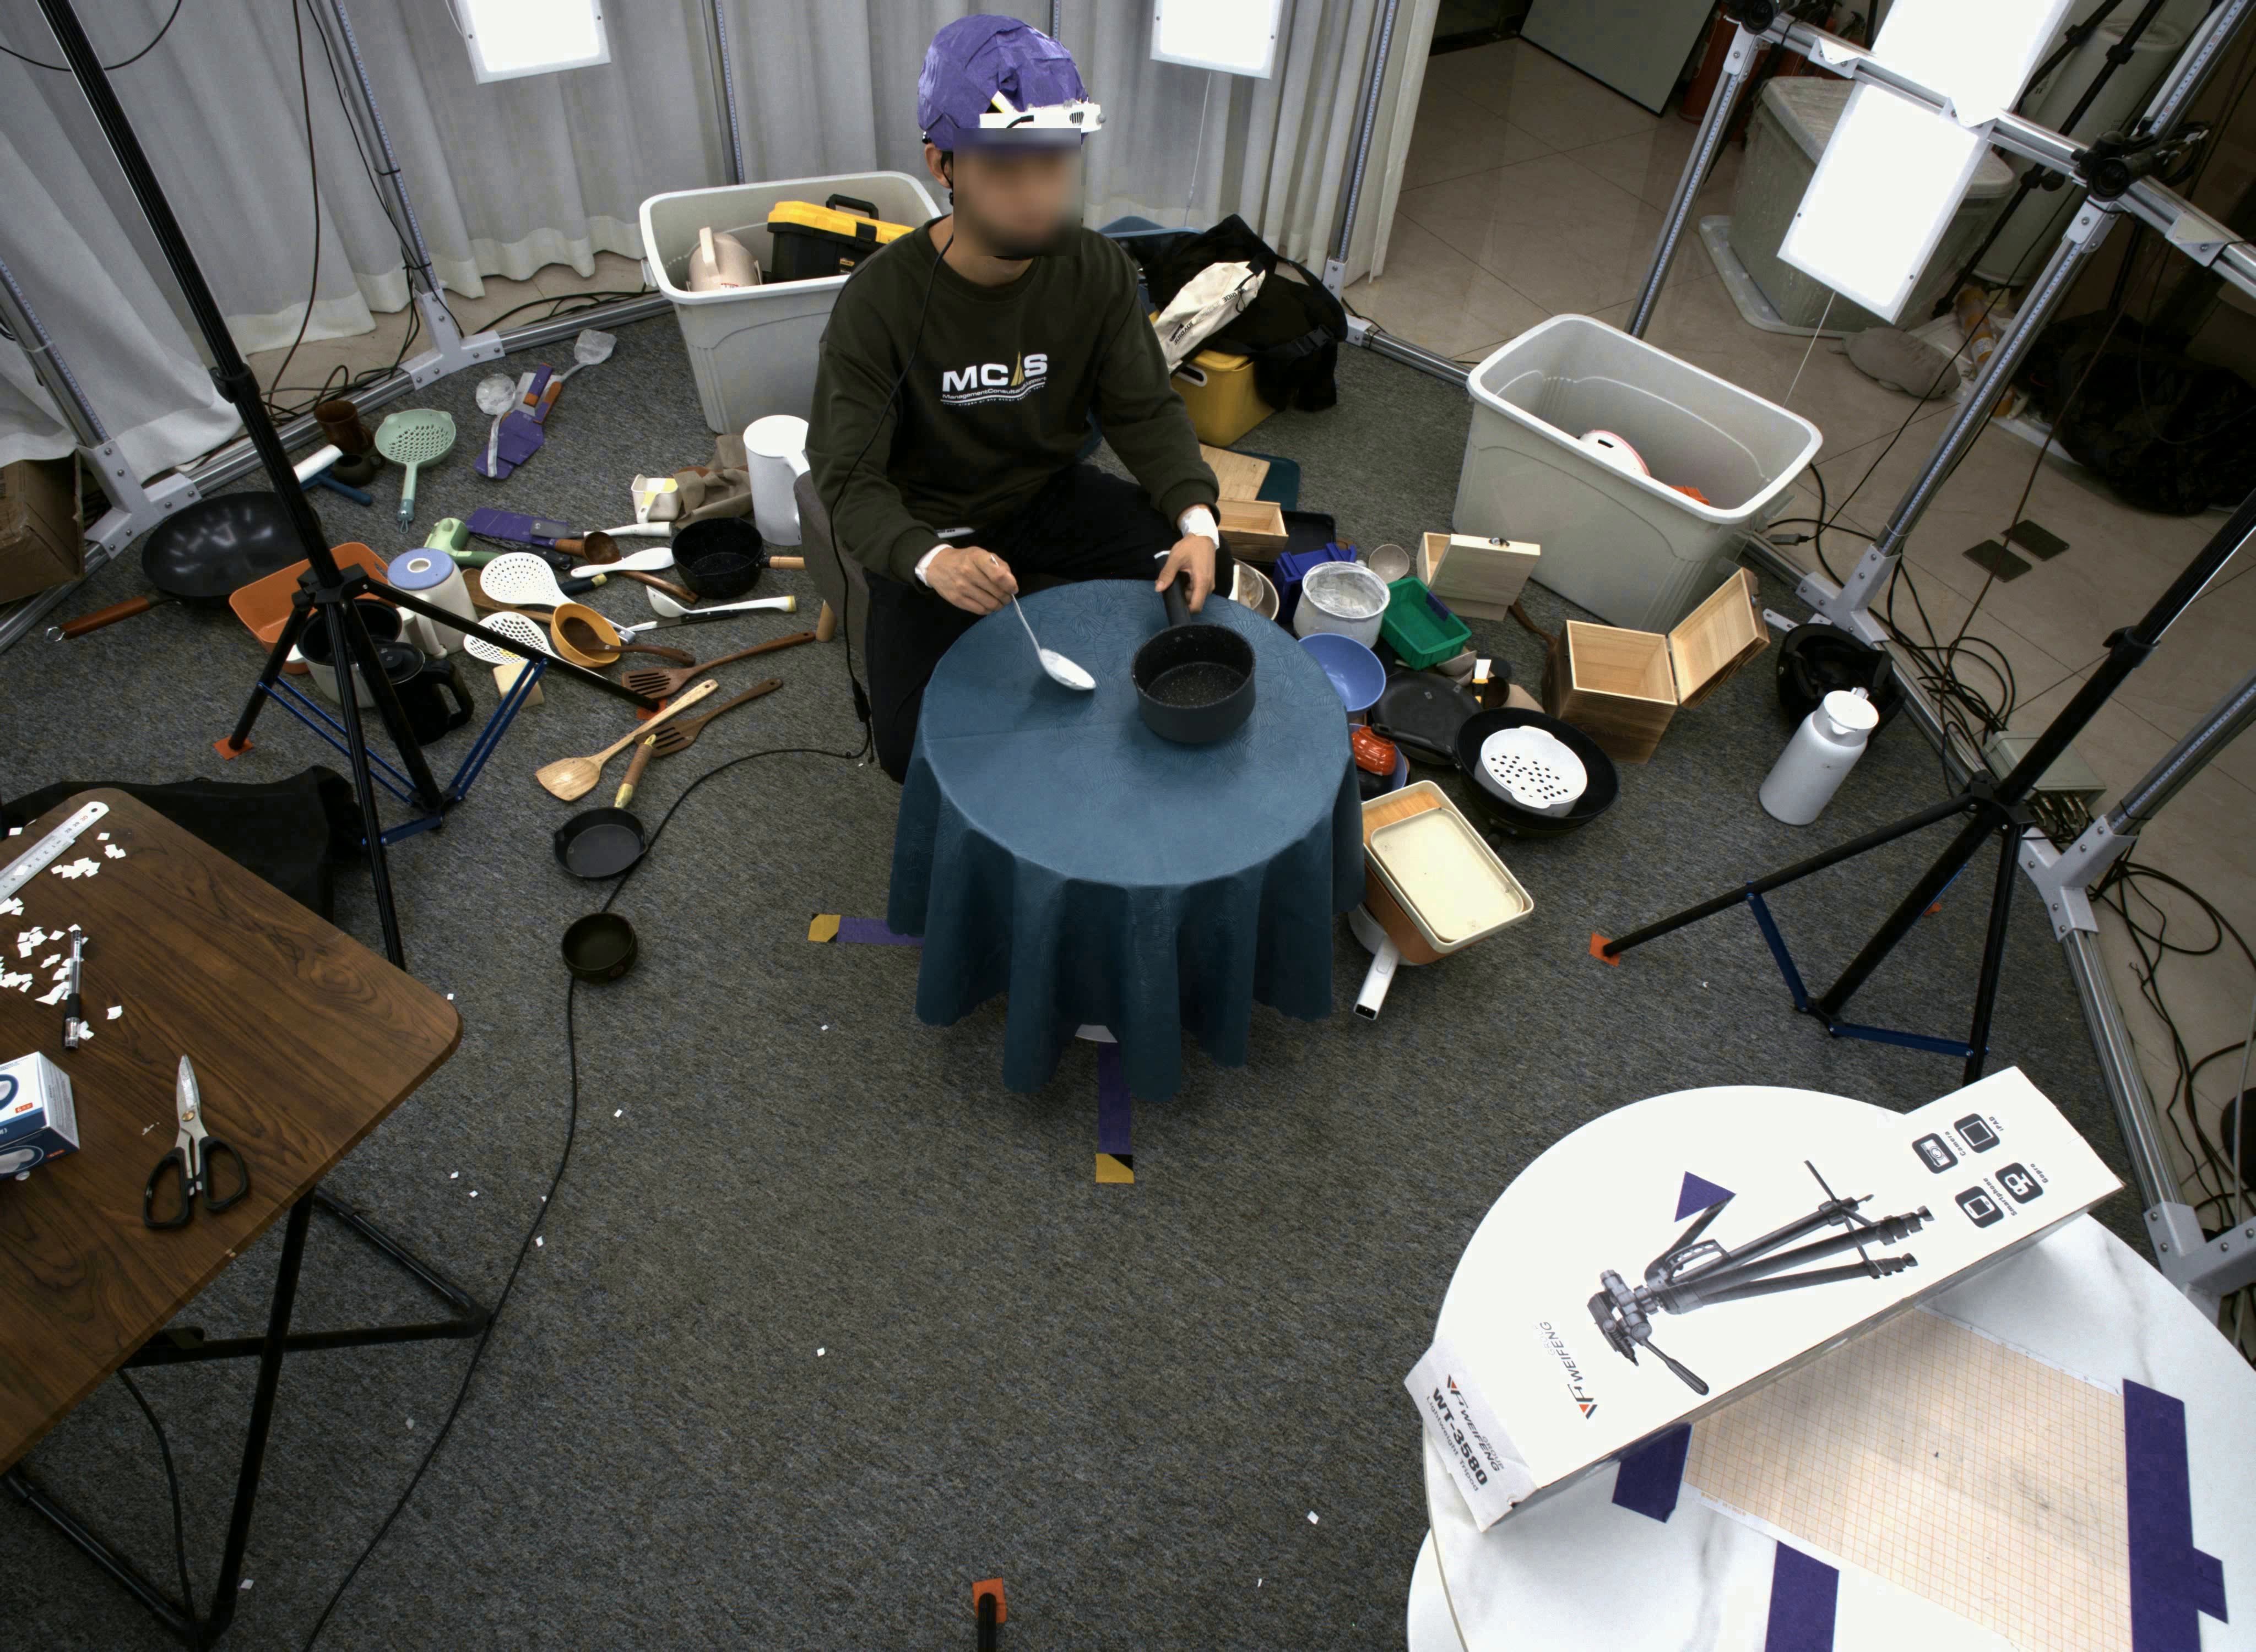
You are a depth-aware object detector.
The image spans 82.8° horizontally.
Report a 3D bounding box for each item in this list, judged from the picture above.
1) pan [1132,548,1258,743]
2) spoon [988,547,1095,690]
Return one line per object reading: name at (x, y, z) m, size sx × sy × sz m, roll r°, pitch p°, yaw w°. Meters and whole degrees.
pan at (0.087, -0.259, 1.825) m, size 0.172 × 0.084 × 0.337 m, roll -8°, pitch 49°, yaw 2°
spoon at (-0.117, -0.284, 1.745) m, size 0.059 × 0.271 × 0.103 m, roll -33°, pitch 46°, yaw -8°
